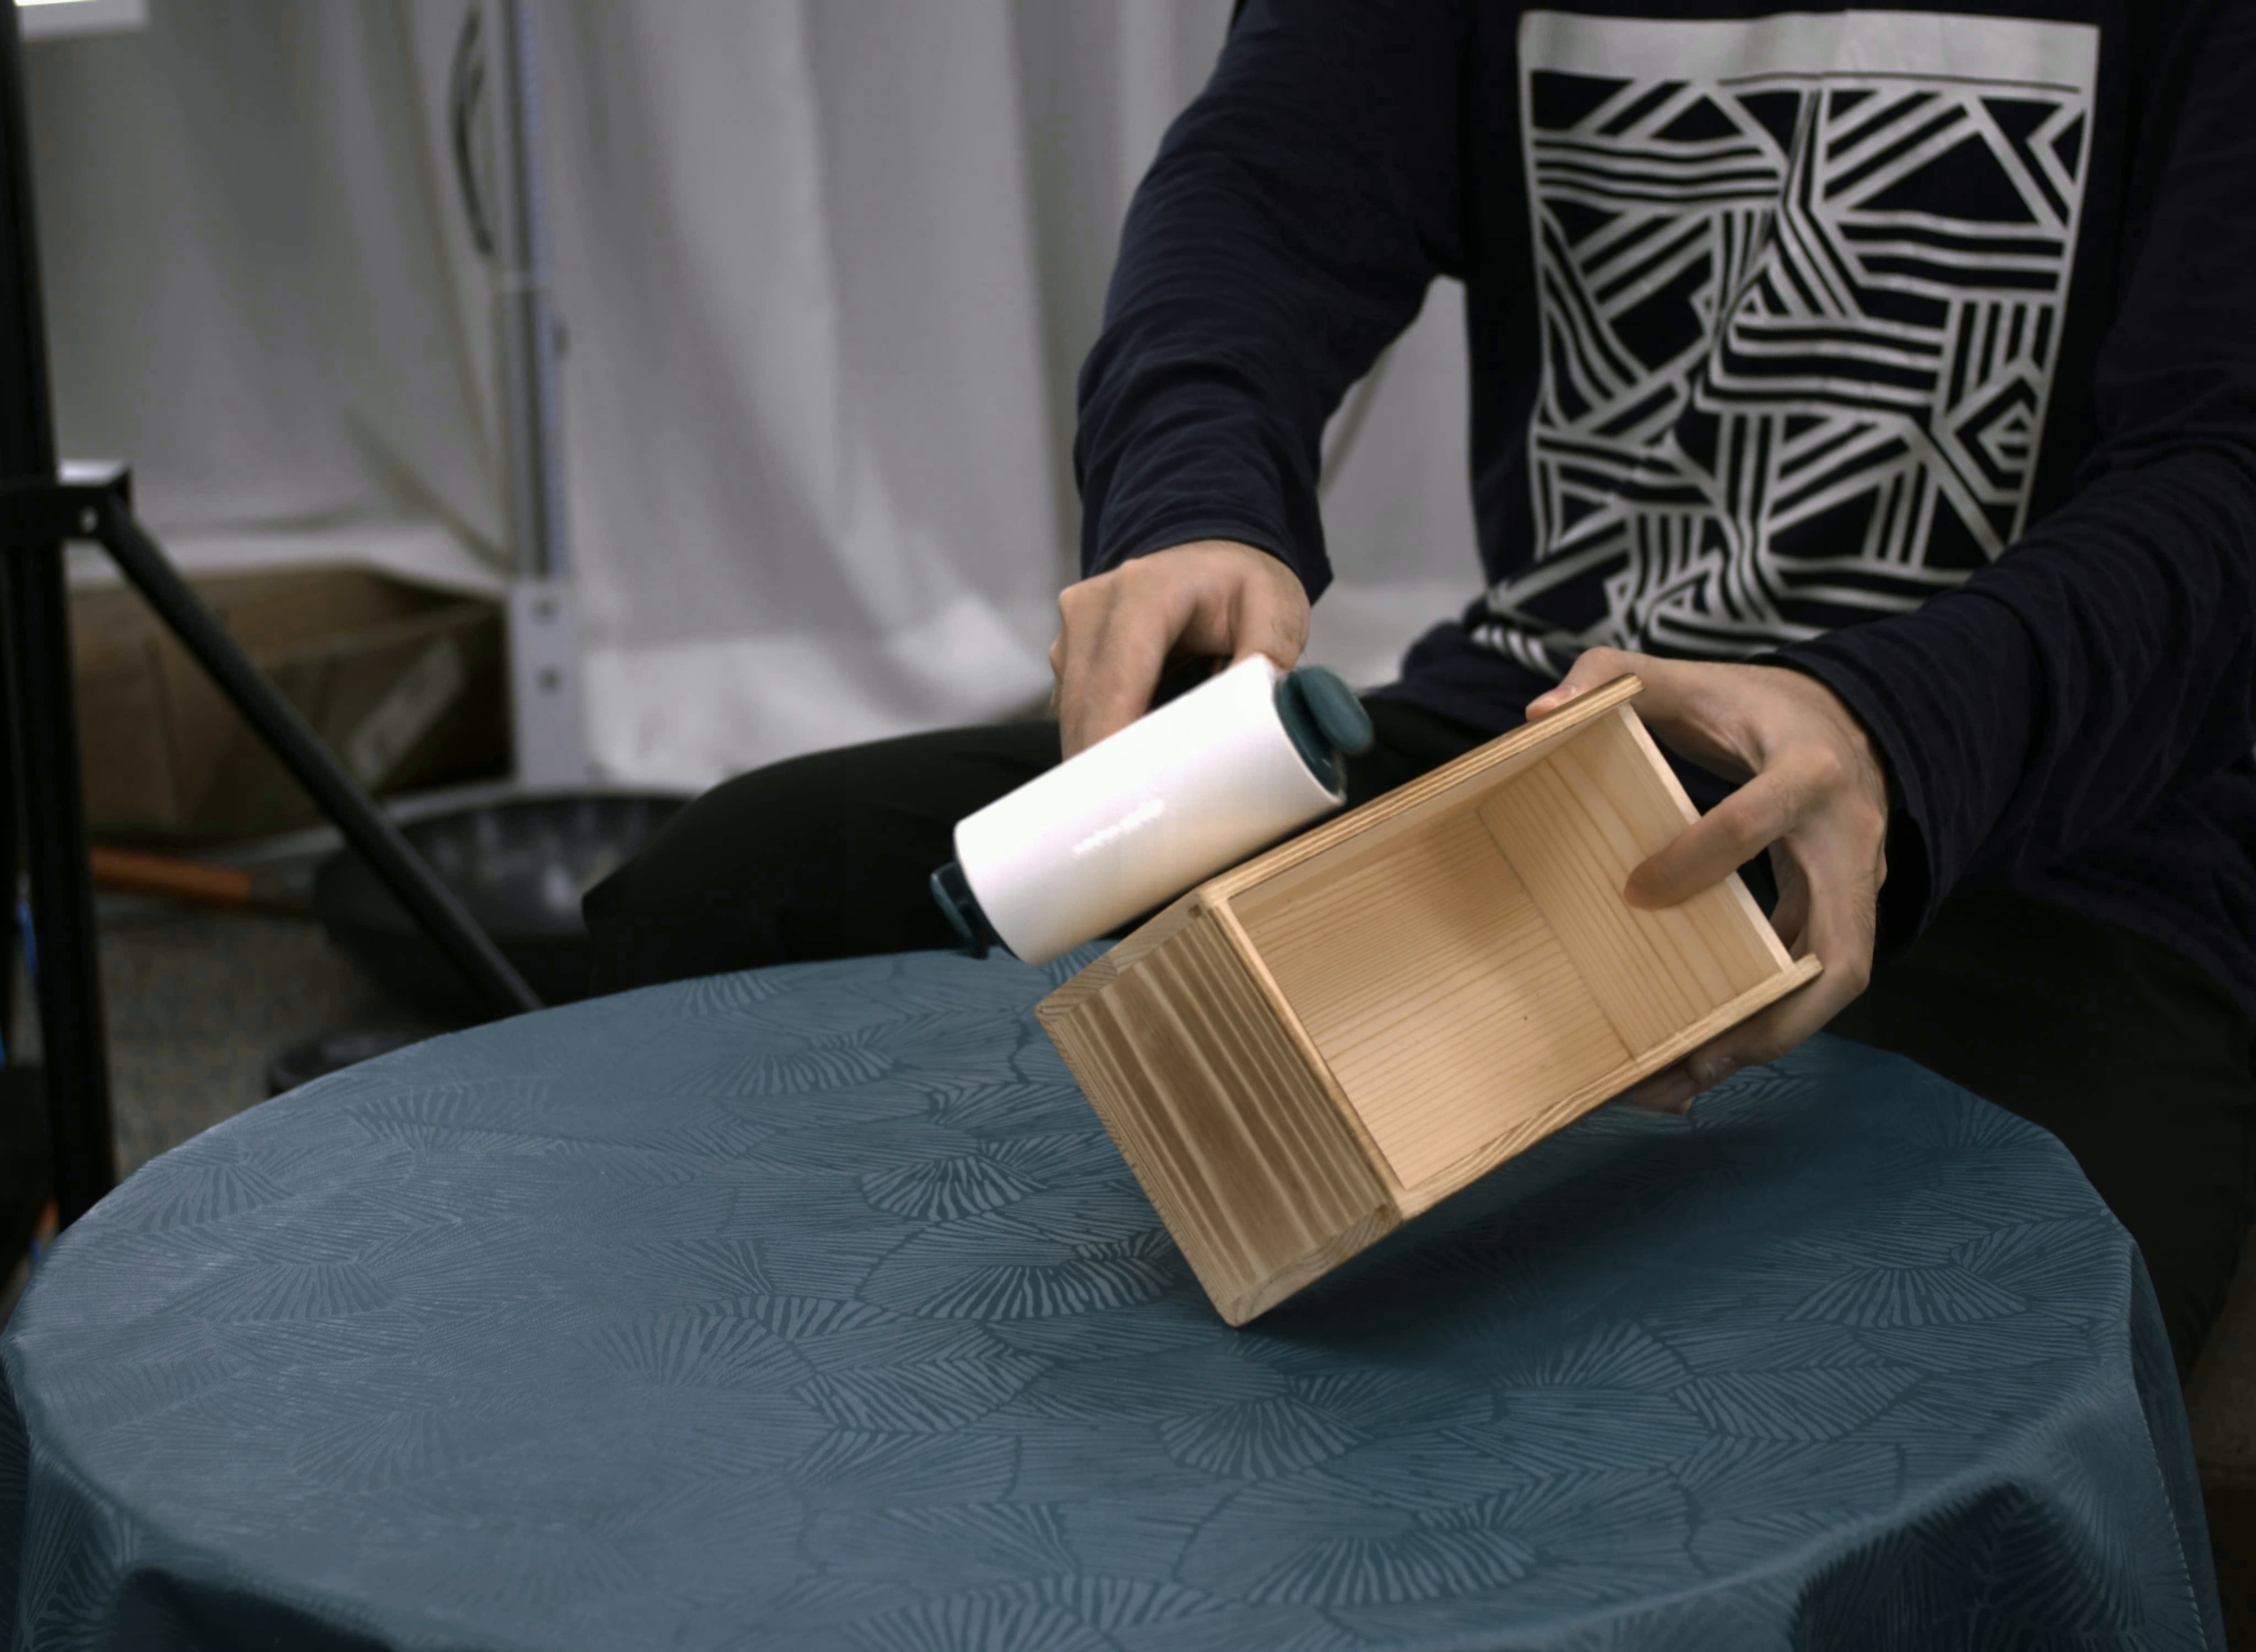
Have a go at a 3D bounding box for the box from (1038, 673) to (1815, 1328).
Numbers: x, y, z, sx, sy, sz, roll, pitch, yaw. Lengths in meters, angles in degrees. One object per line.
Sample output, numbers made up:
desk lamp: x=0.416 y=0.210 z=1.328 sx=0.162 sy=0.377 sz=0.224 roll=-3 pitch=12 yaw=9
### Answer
box: x=0.087 y=0.047 z=1.503 sx=0.207 sy=0.108 sz=0.081 roll=-25 pitch=-10 yaw=-47

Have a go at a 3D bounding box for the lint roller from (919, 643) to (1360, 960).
lint roller: x=0.008 y=-0.028 z=1.537 sx=0.135 sy=0.048 sz=0.180 roll=-30 pitch=14 yaw=14
